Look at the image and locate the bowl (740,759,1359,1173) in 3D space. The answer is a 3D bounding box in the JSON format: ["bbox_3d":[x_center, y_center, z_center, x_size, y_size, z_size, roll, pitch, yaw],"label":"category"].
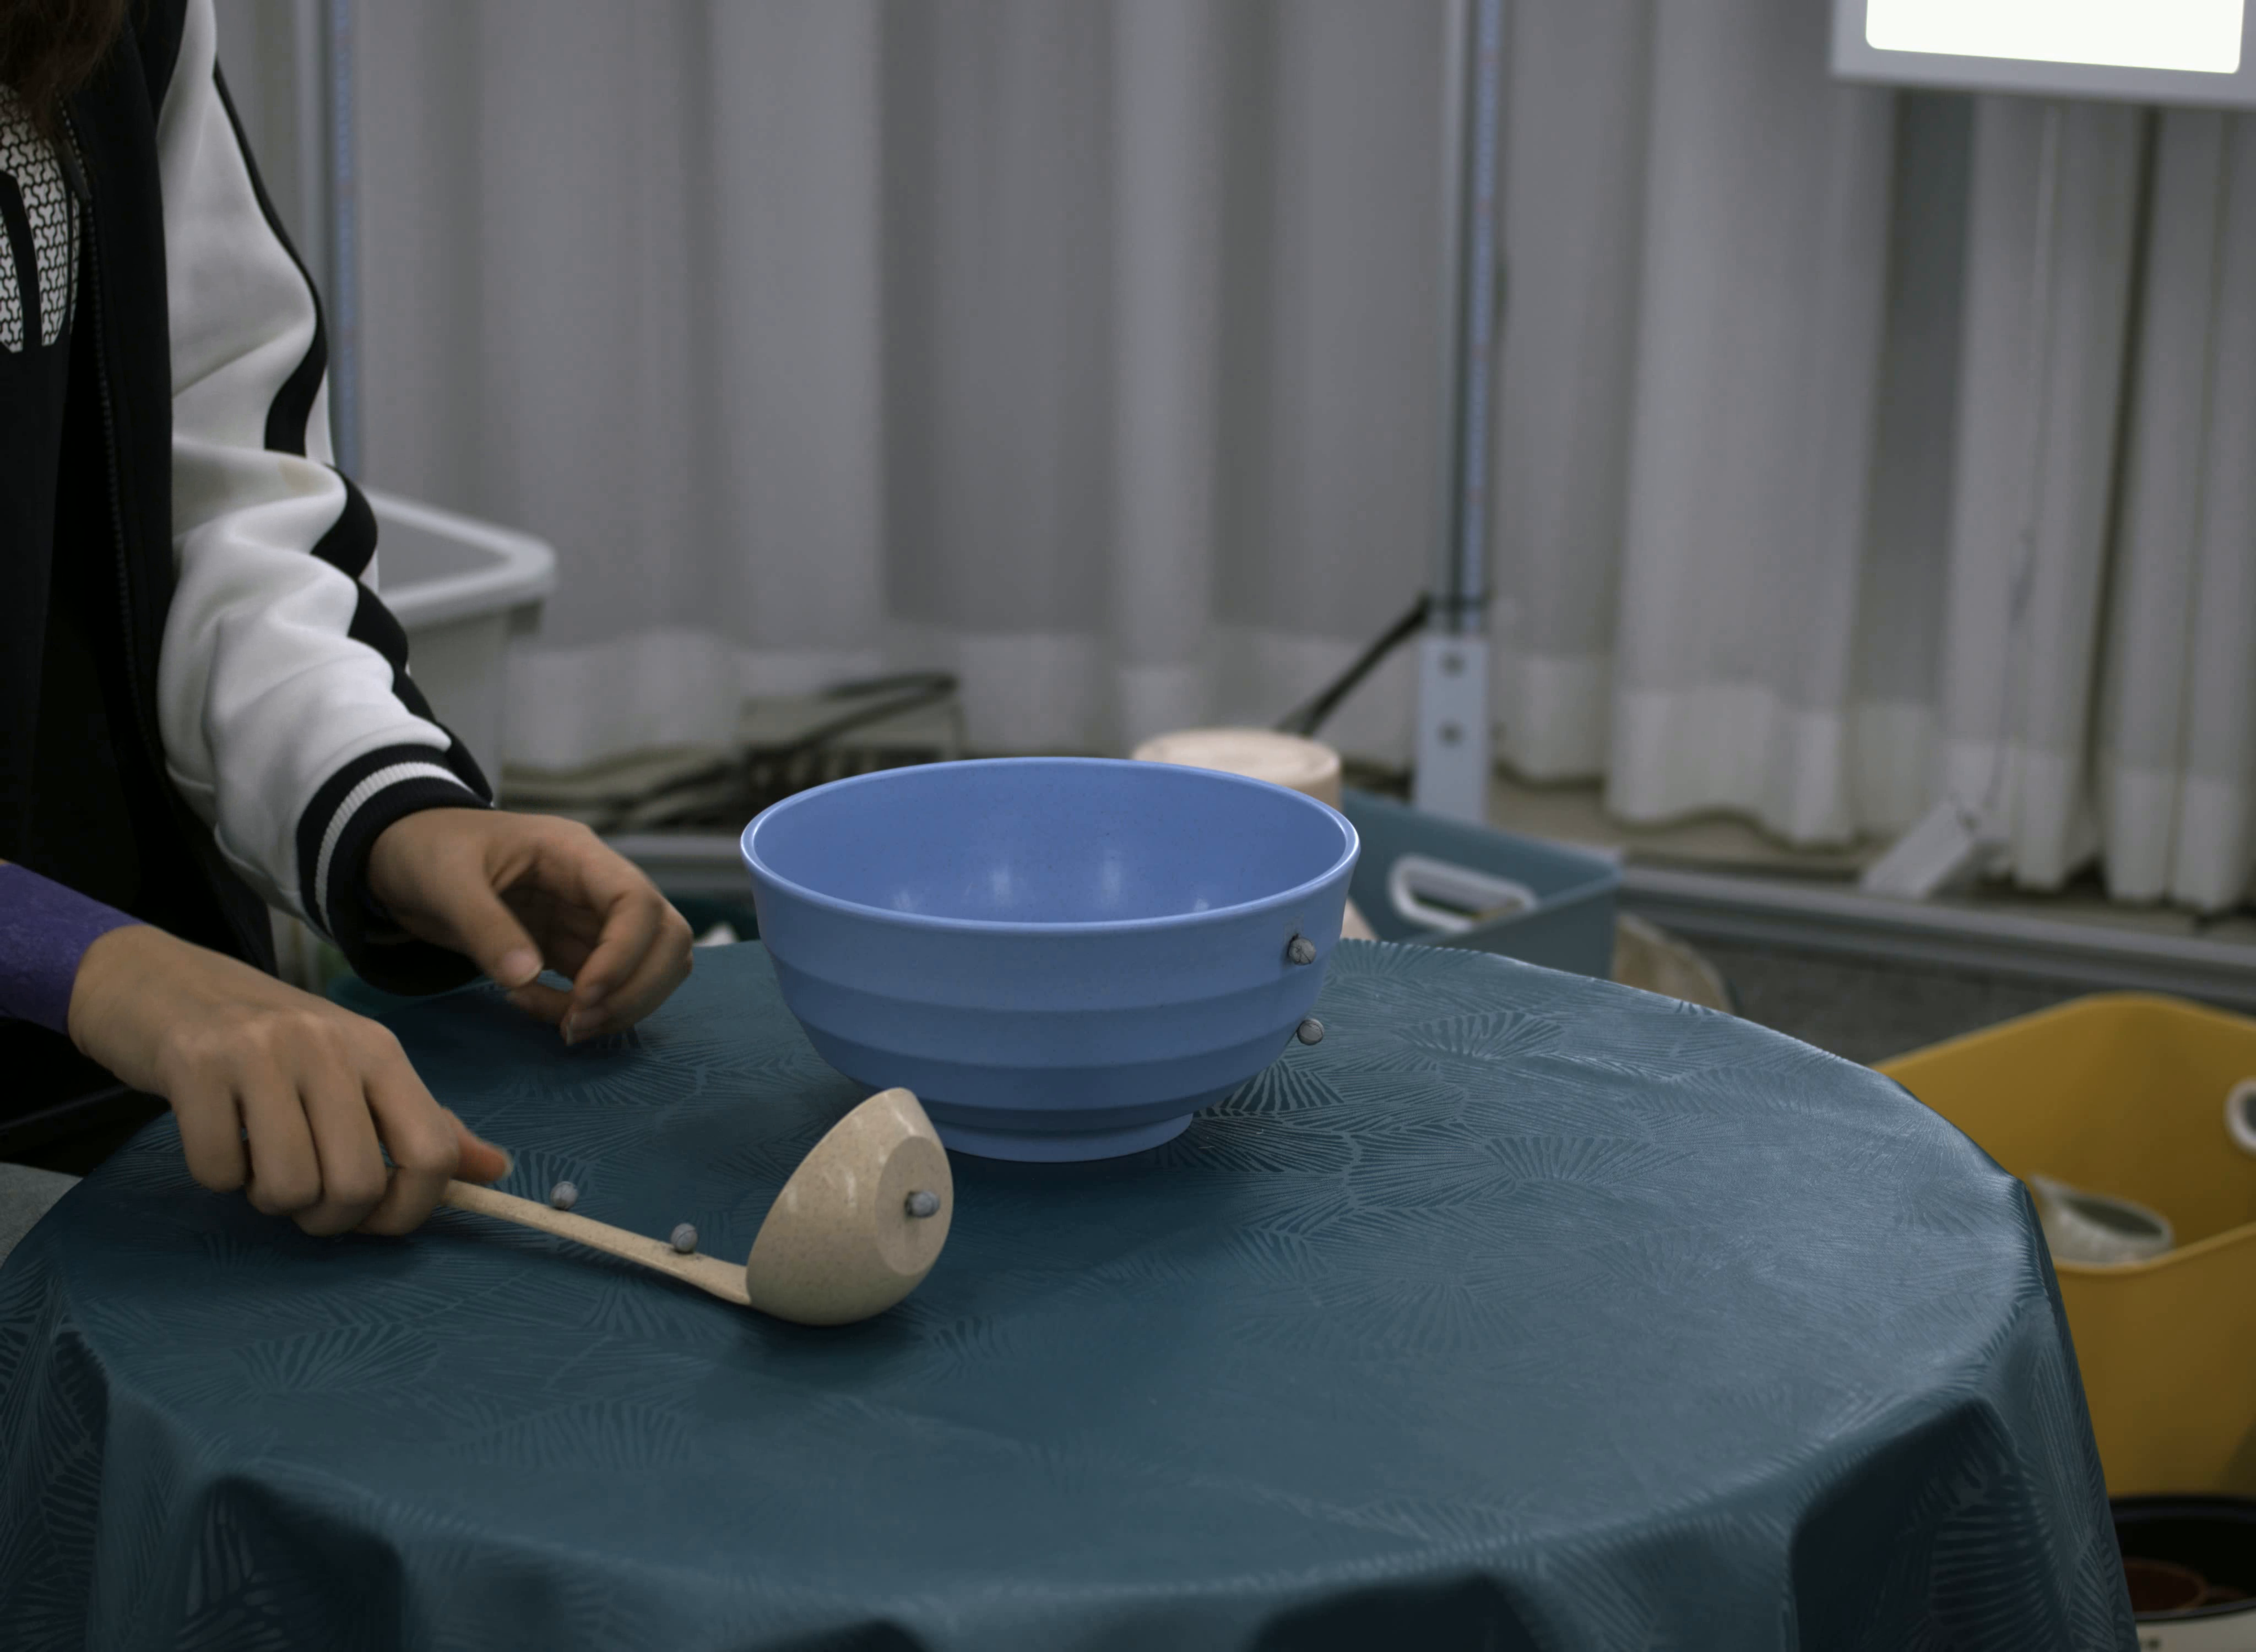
[{"bbox_3d":[-0.024,0.051,1.676,0.196,0.096,0.195,0,17,1],"label":"bowl"}]

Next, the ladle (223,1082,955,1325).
[{"bbox_3d":[-0.167,0.093,1.548,0.251,0.073,0.072,9,17,29],"label":"ladle"}]
